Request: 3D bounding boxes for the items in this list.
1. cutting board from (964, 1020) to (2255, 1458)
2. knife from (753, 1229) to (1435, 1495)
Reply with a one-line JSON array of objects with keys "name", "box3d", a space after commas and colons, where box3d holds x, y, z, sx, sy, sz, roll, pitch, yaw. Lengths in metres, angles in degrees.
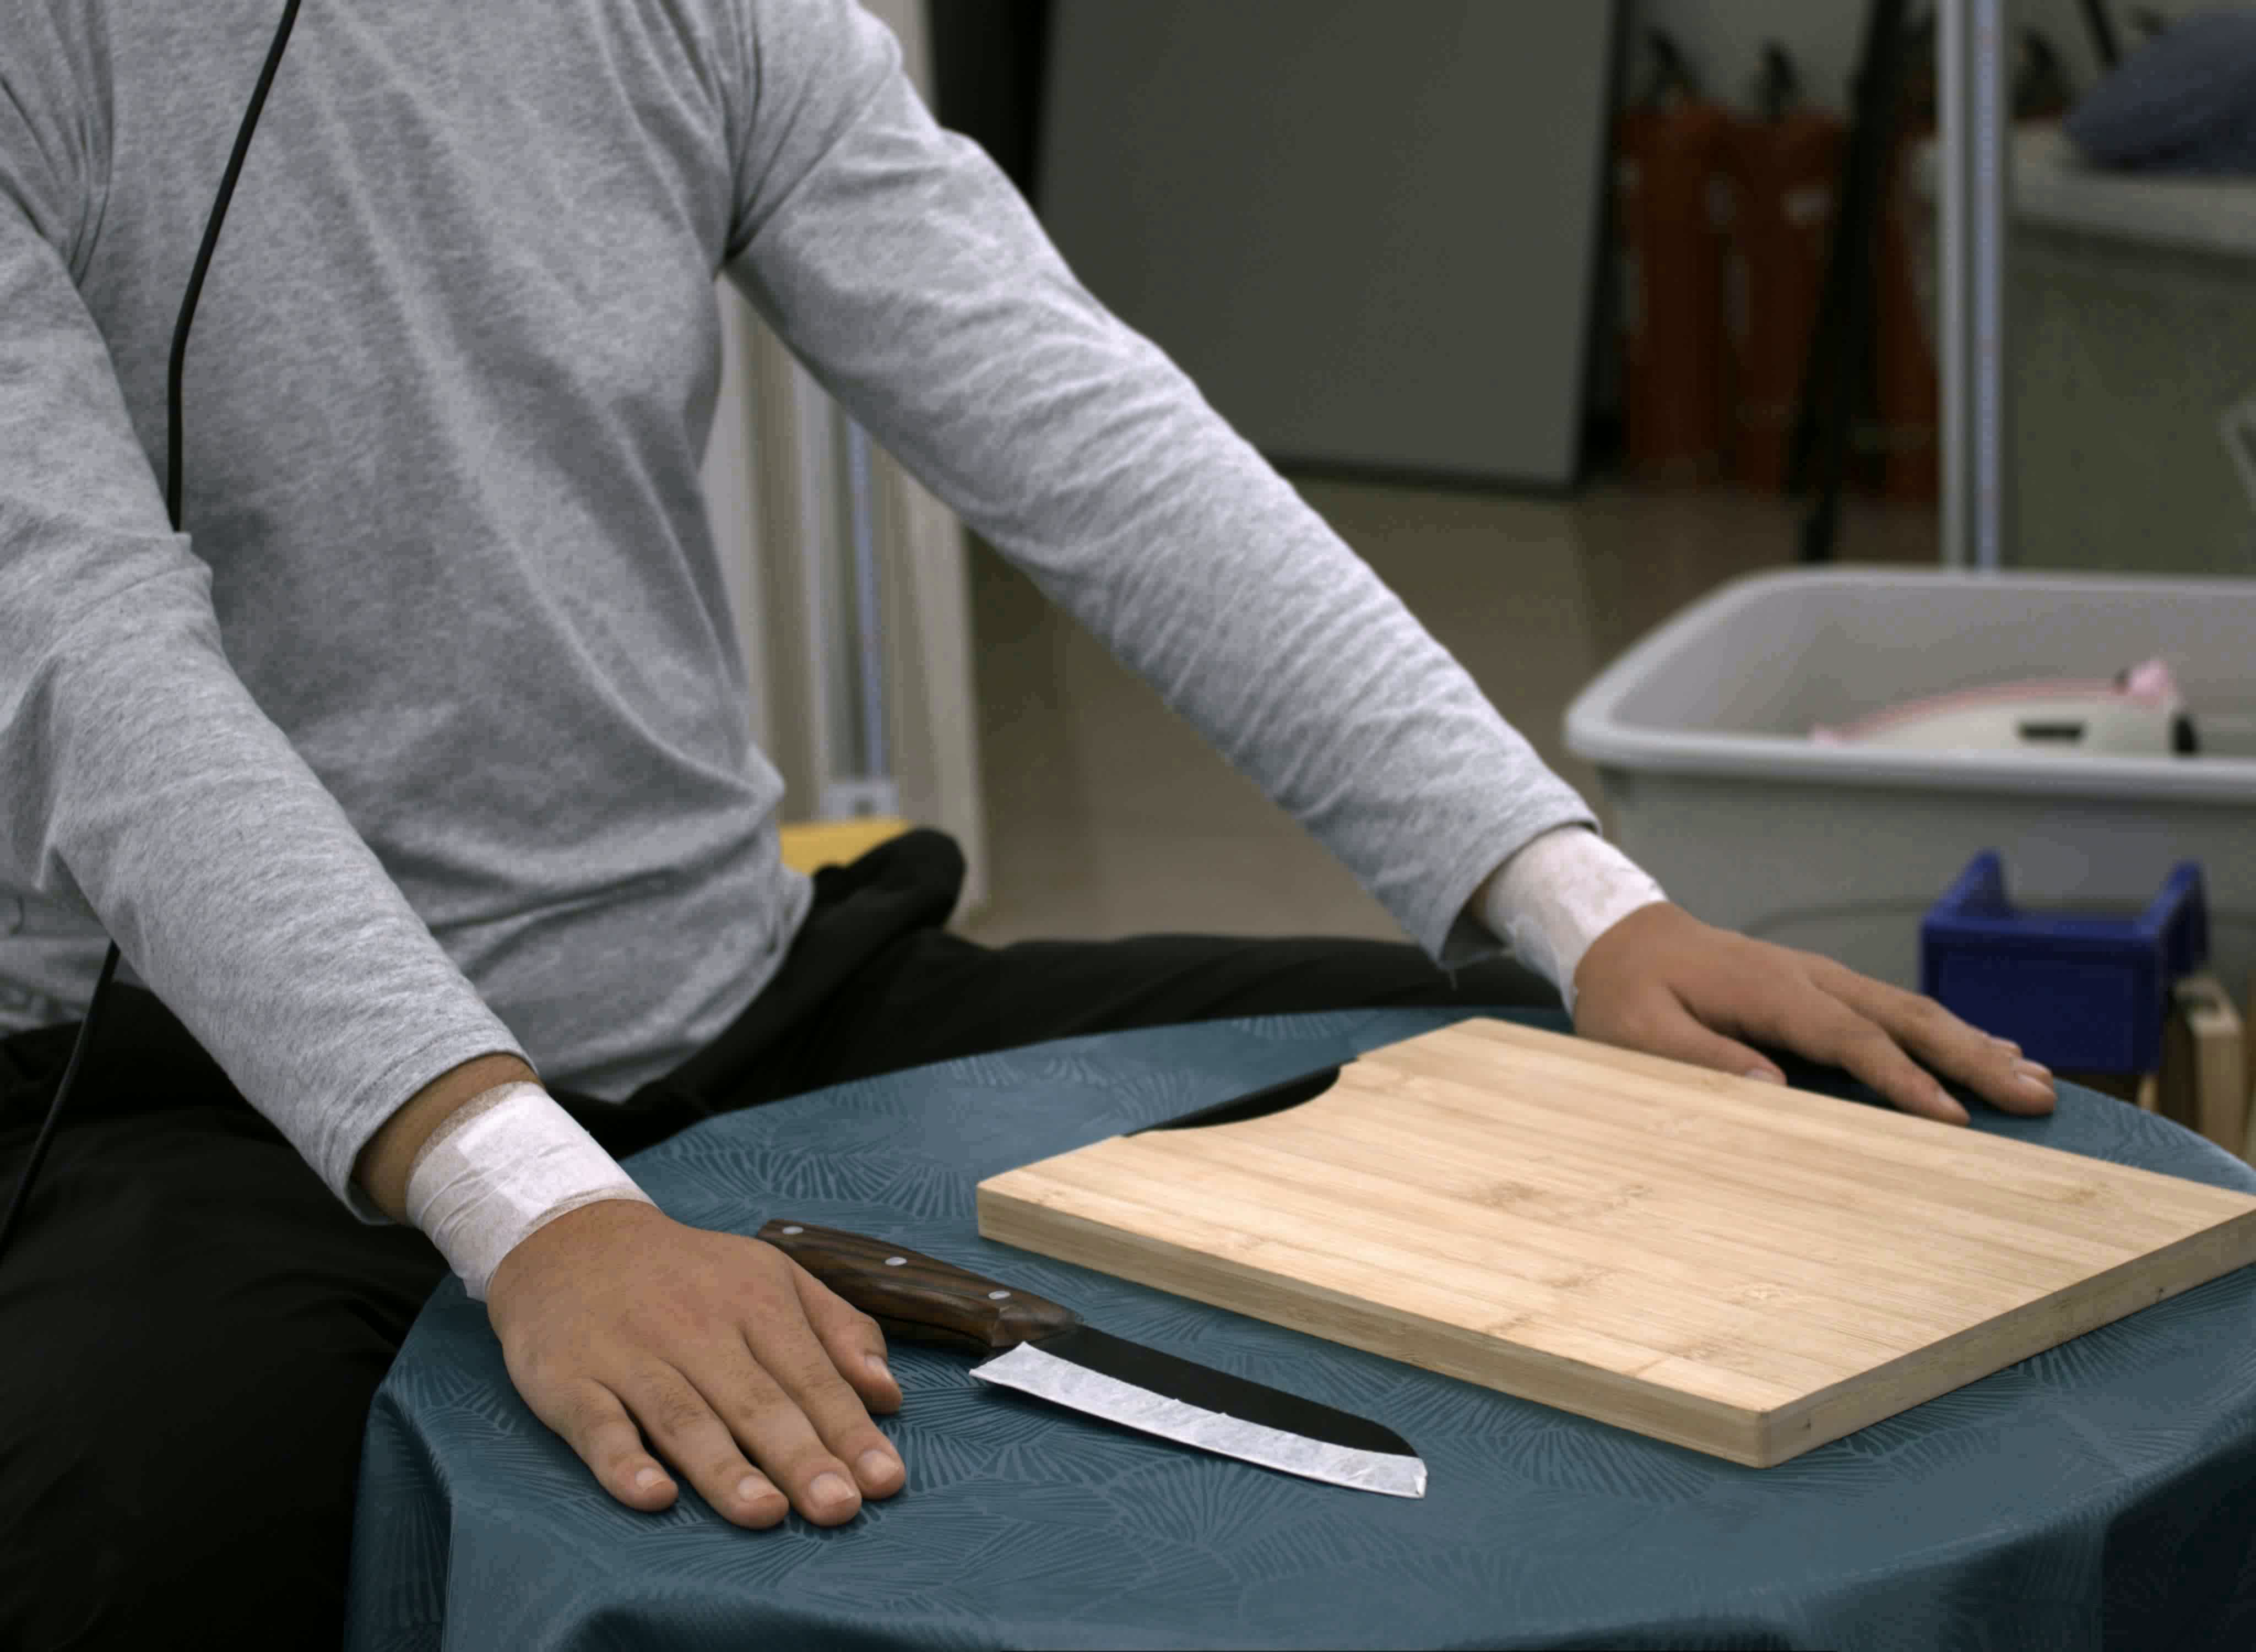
[{"name": "cutting board", "box3d": [0.147, 0.123, 1.690, 0.245, 0.024, 0.352, -15, 17, -40]}, {"name": "knife", "box3d": [-0.014, 0.159, 1.591, 0.049, 0.020, 0.292, -22, 24, -39]}]
